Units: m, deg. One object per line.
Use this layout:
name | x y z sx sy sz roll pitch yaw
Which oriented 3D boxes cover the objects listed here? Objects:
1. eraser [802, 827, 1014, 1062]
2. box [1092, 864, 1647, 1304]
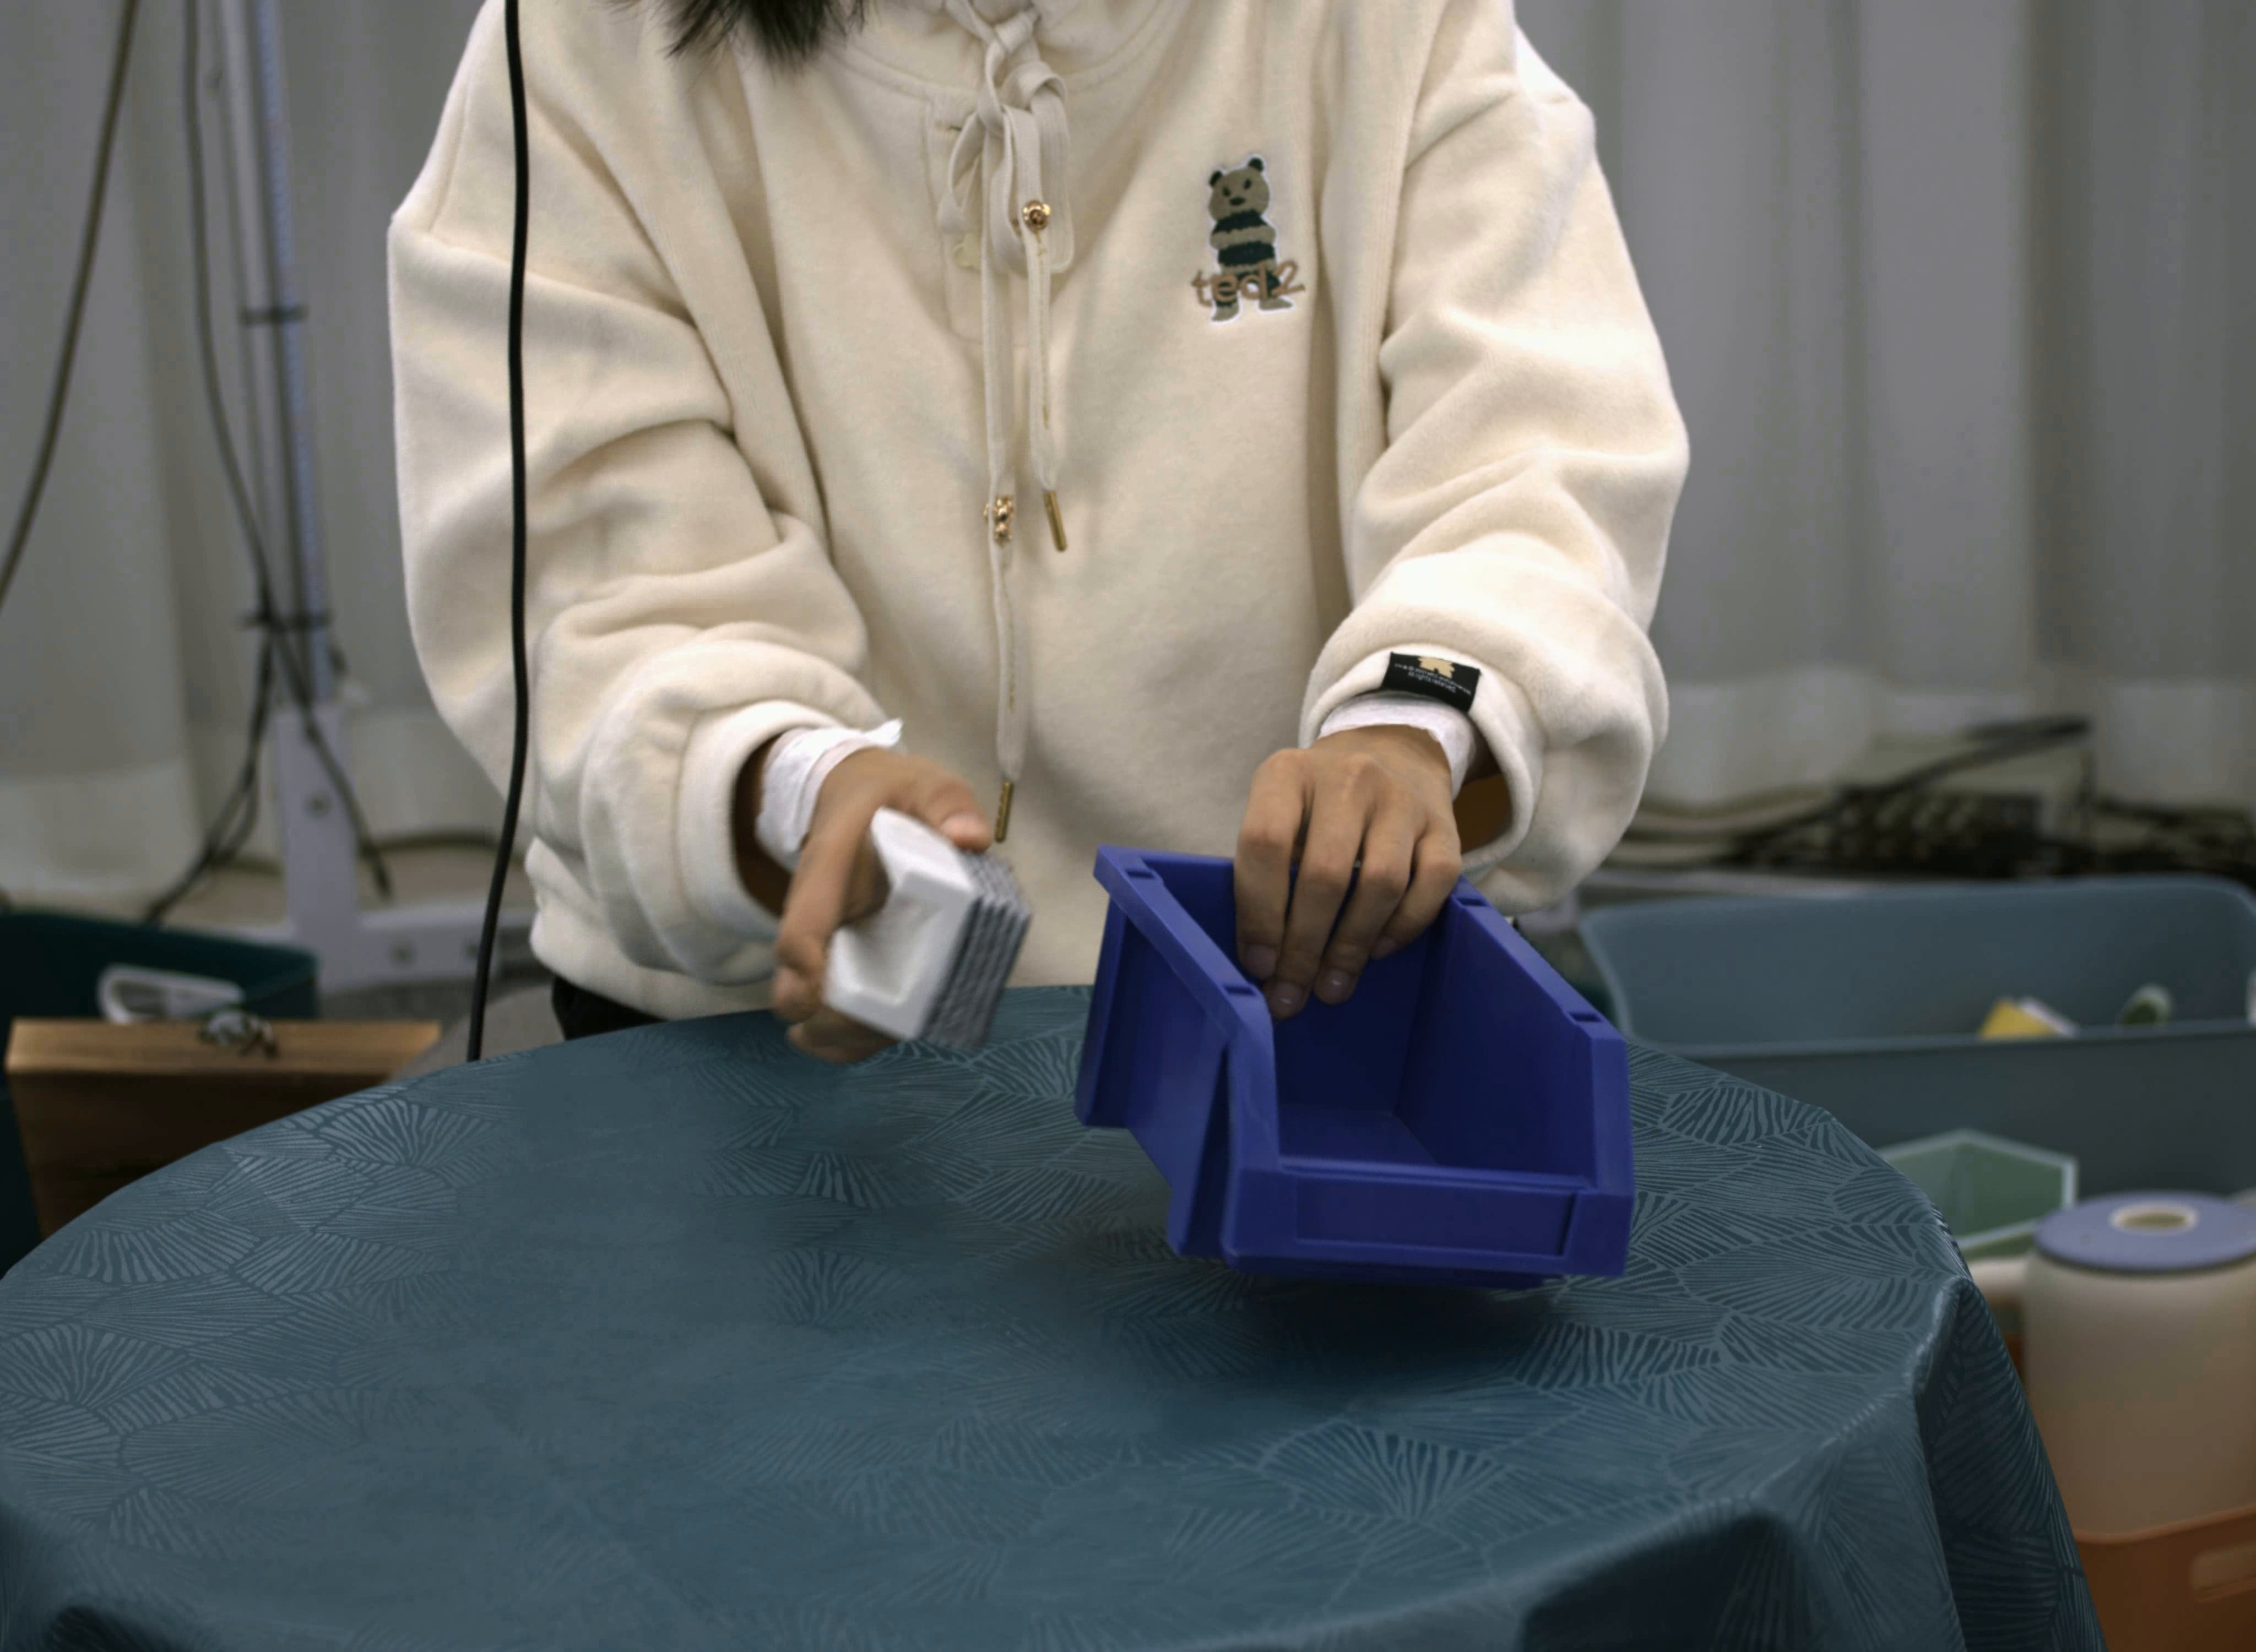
eraser | -0.068 0.036 1.683 0.046 0.050 0.135 23 2 -9
box | 0.070 0.079 1.601 0.124 0.081 0.181 5 14 -16
